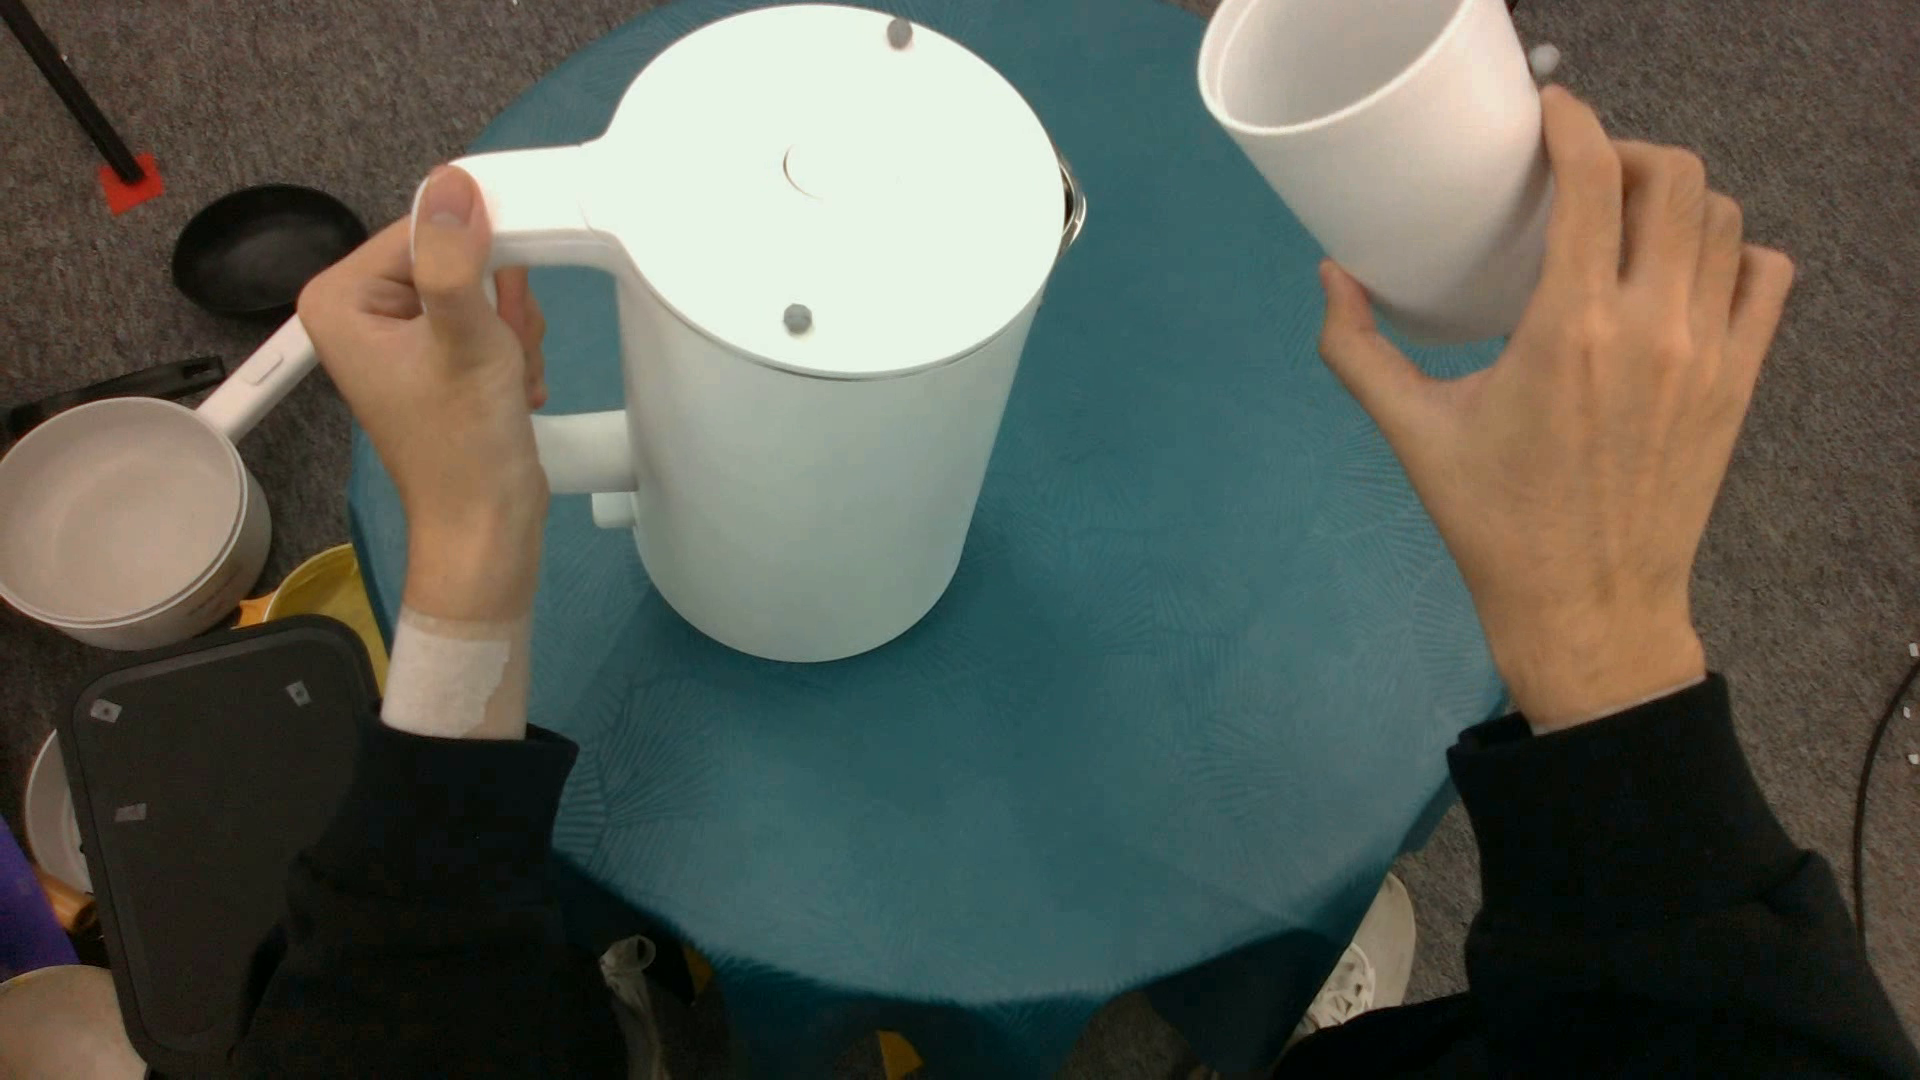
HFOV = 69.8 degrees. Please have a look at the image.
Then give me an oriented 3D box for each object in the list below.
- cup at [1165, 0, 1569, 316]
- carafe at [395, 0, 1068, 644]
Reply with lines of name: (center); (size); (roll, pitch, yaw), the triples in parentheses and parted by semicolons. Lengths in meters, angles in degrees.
cup: (0.131, -0.130, 0.423); (0.125, 0.081, 0.082); (30, 57, -42)
carafe: (-0.087, -0.071, 0.523); (0.213, 0.239, 0.152); (-5, 65, -14)
